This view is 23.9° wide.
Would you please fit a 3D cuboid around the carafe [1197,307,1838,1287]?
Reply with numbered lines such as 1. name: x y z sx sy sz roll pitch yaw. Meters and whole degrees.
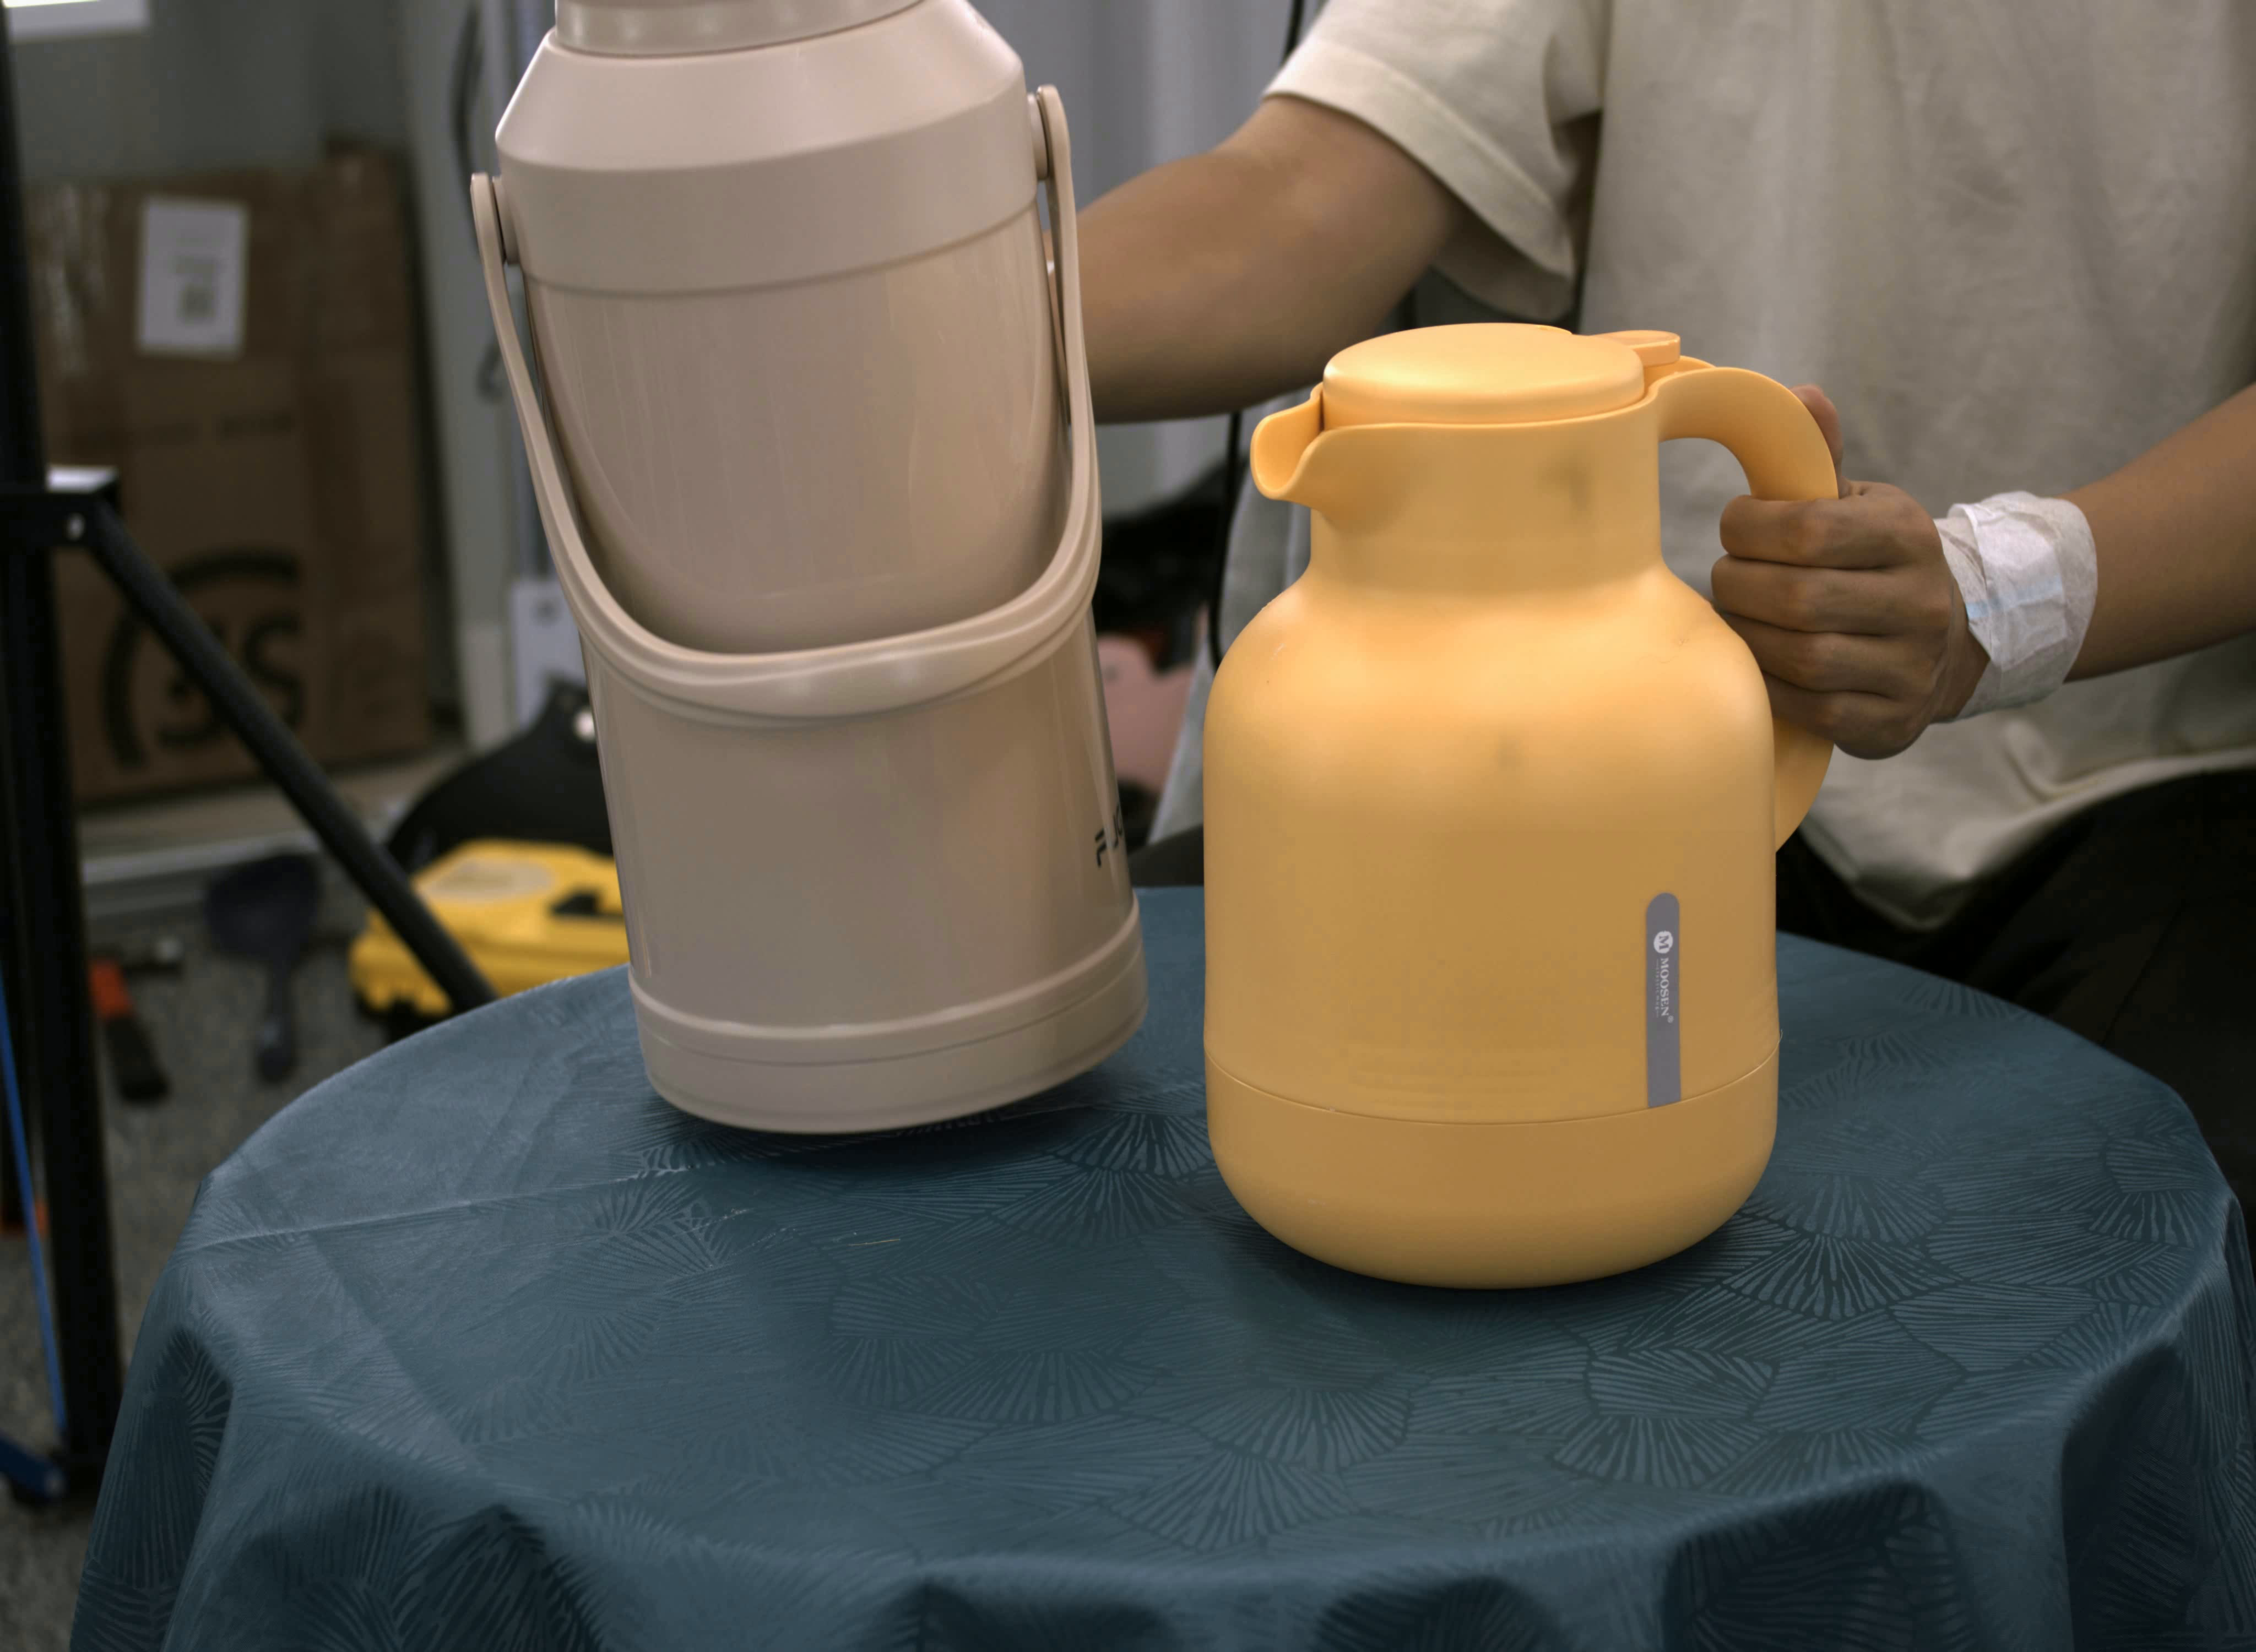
1. carafe: 0.117 -0.014 1.492 0.198 0.260 0.167 -12 20 -29

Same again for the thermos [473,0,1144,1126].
1. thermos: -0.096 -0.128 1.604 0.174 0.405 0.209 -10 19 -5
